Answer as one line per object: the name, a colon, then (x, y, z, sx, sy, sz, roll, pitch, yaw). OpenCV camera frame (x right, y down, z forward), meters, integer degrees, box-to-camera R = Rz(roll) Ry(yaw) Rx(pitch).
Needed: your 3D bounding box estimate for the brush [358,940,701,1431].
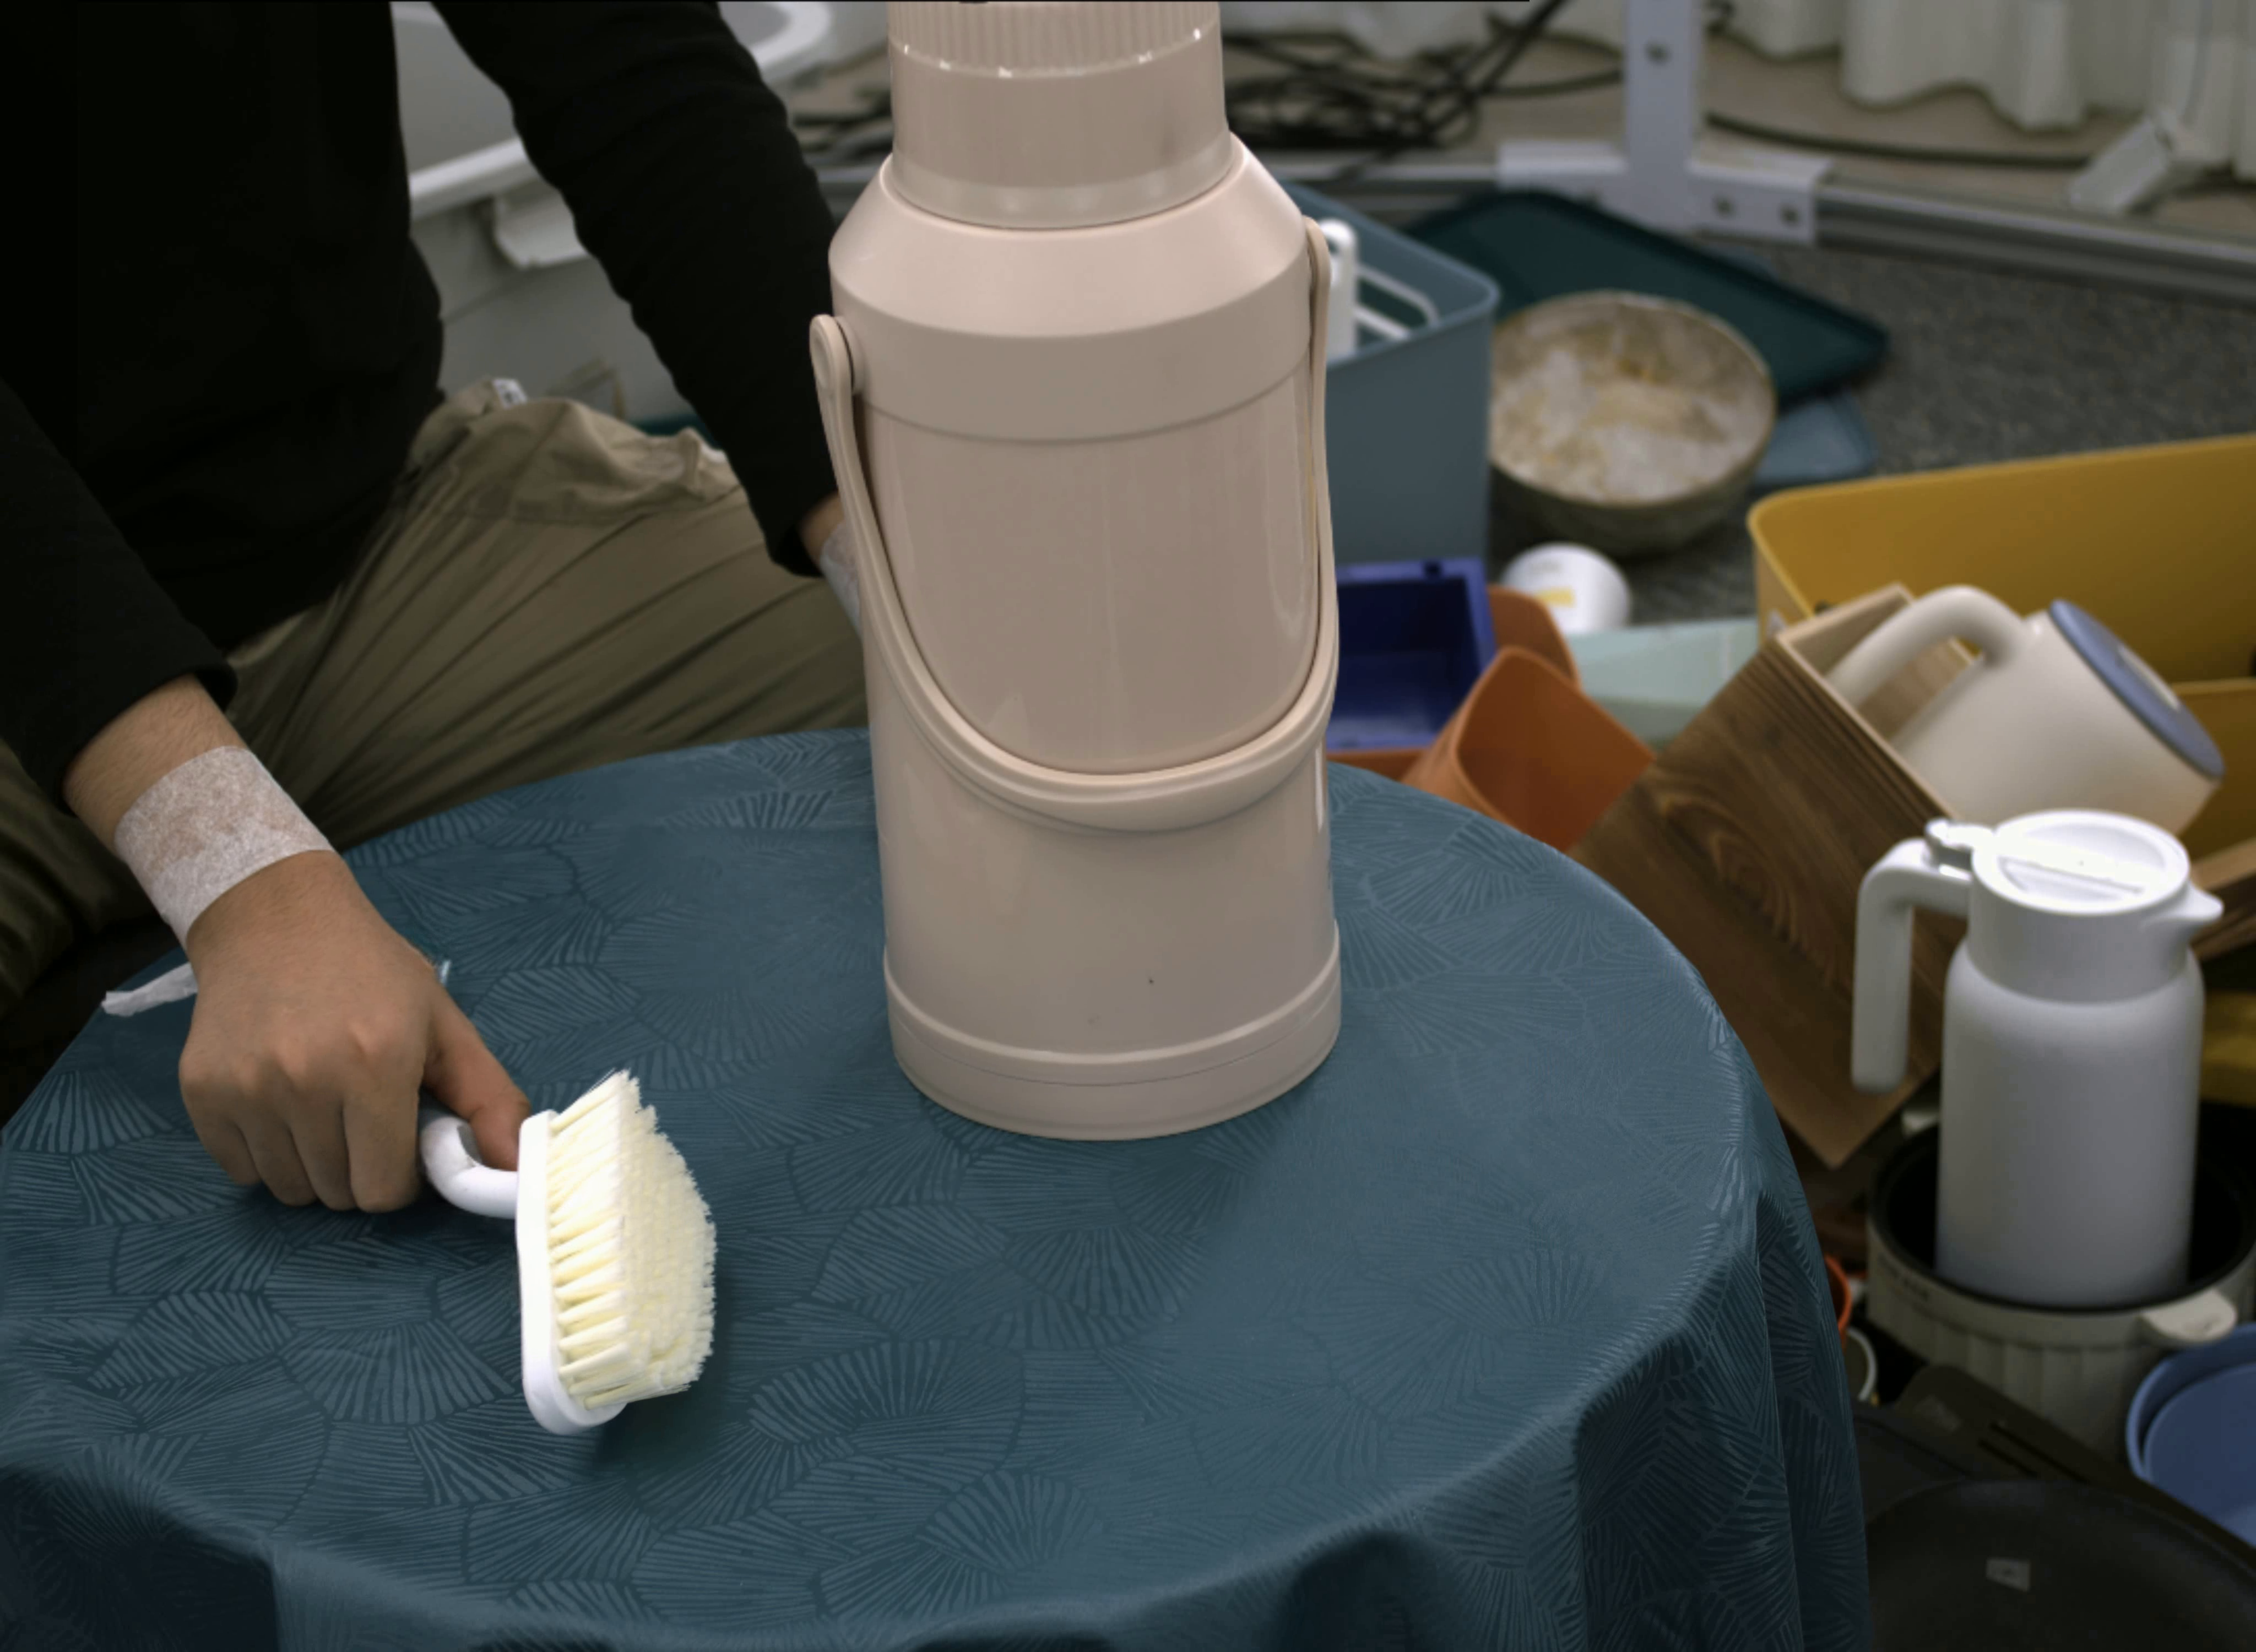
brush: (-0.190, 0.096, 1.856, 0.084, 0.082, 0.328, 6, 22, -18)

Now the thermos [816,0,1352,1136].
thermos: (-0.016, -0.112, 1.889, 0.176, 0.402, 0.208, -15, 29, -19)
